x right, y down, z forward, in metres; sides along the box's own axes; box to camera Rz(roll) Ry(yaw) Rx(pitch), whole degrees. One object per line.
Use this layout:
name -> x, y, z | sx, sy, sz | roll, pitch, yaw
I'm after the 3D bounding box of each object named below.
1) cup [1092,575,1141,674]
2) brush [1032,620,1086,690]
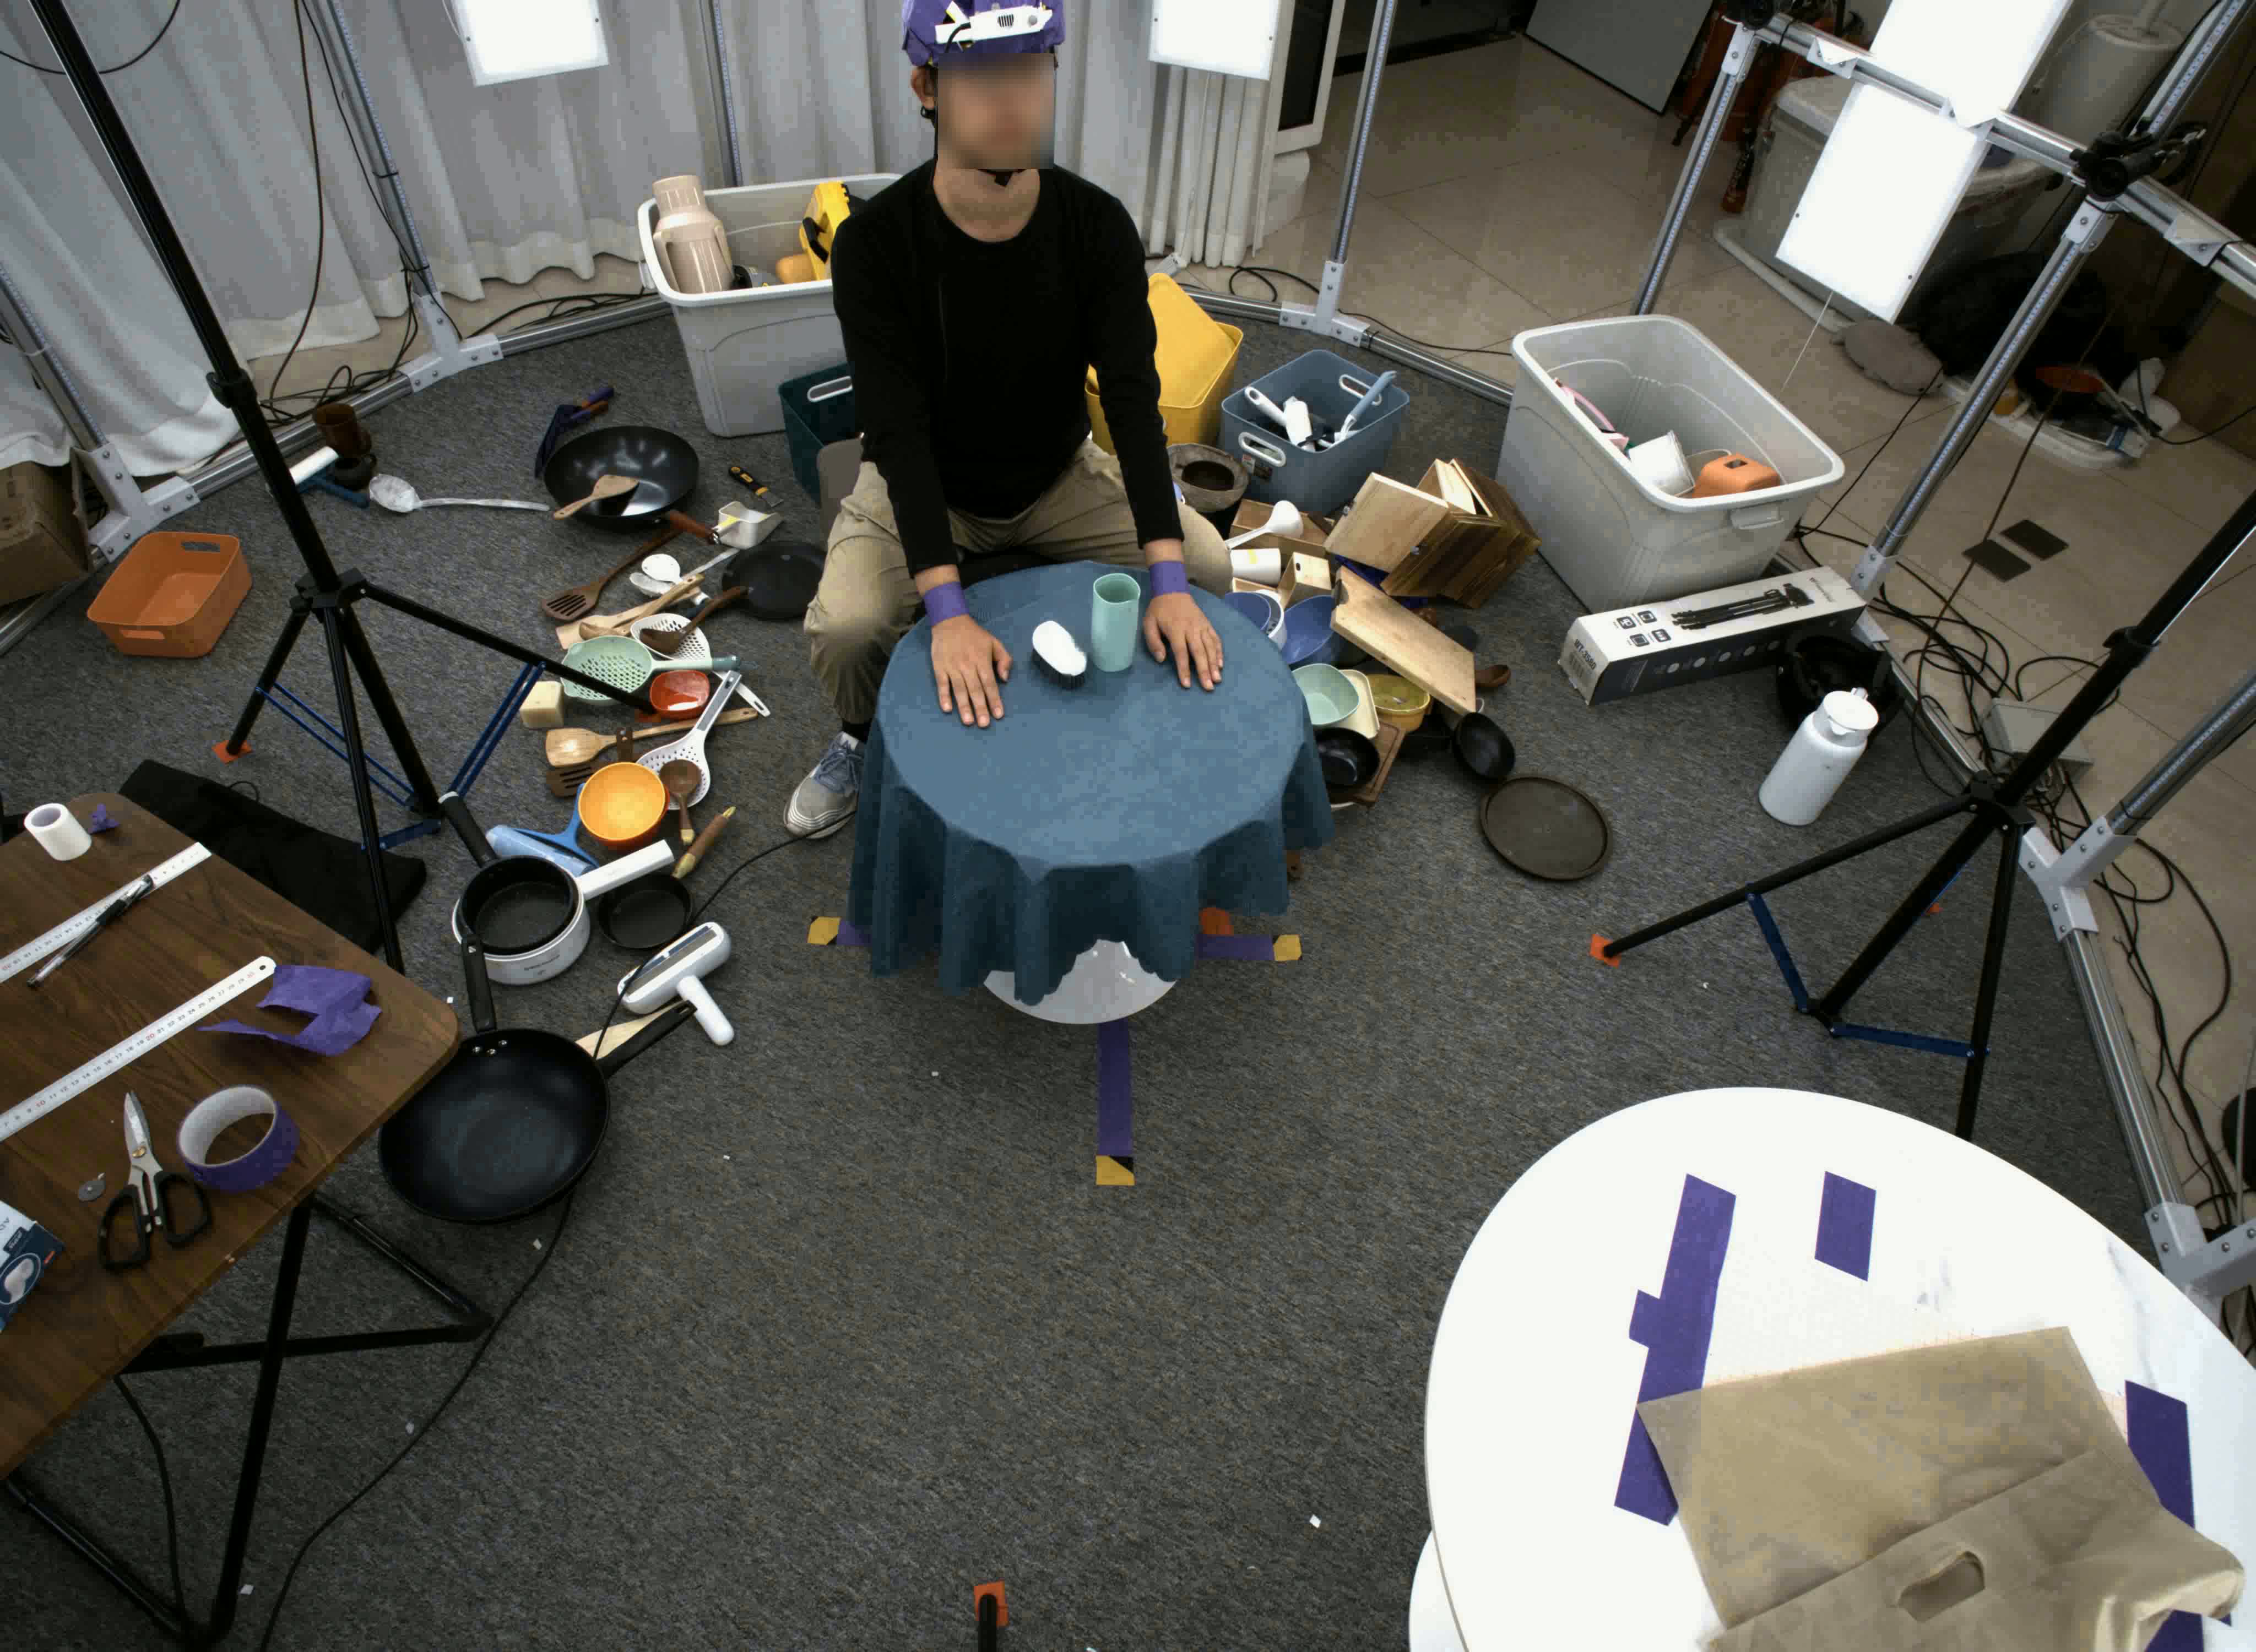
cup -> -0.019, -0.287, 1.835 | 0.066, 0.129, 0.068 | 2, 50, -3
brush -> -0.098, -0.251, 1.829 | 0.050, 0.071, 0.101 | -27, 57, -26
